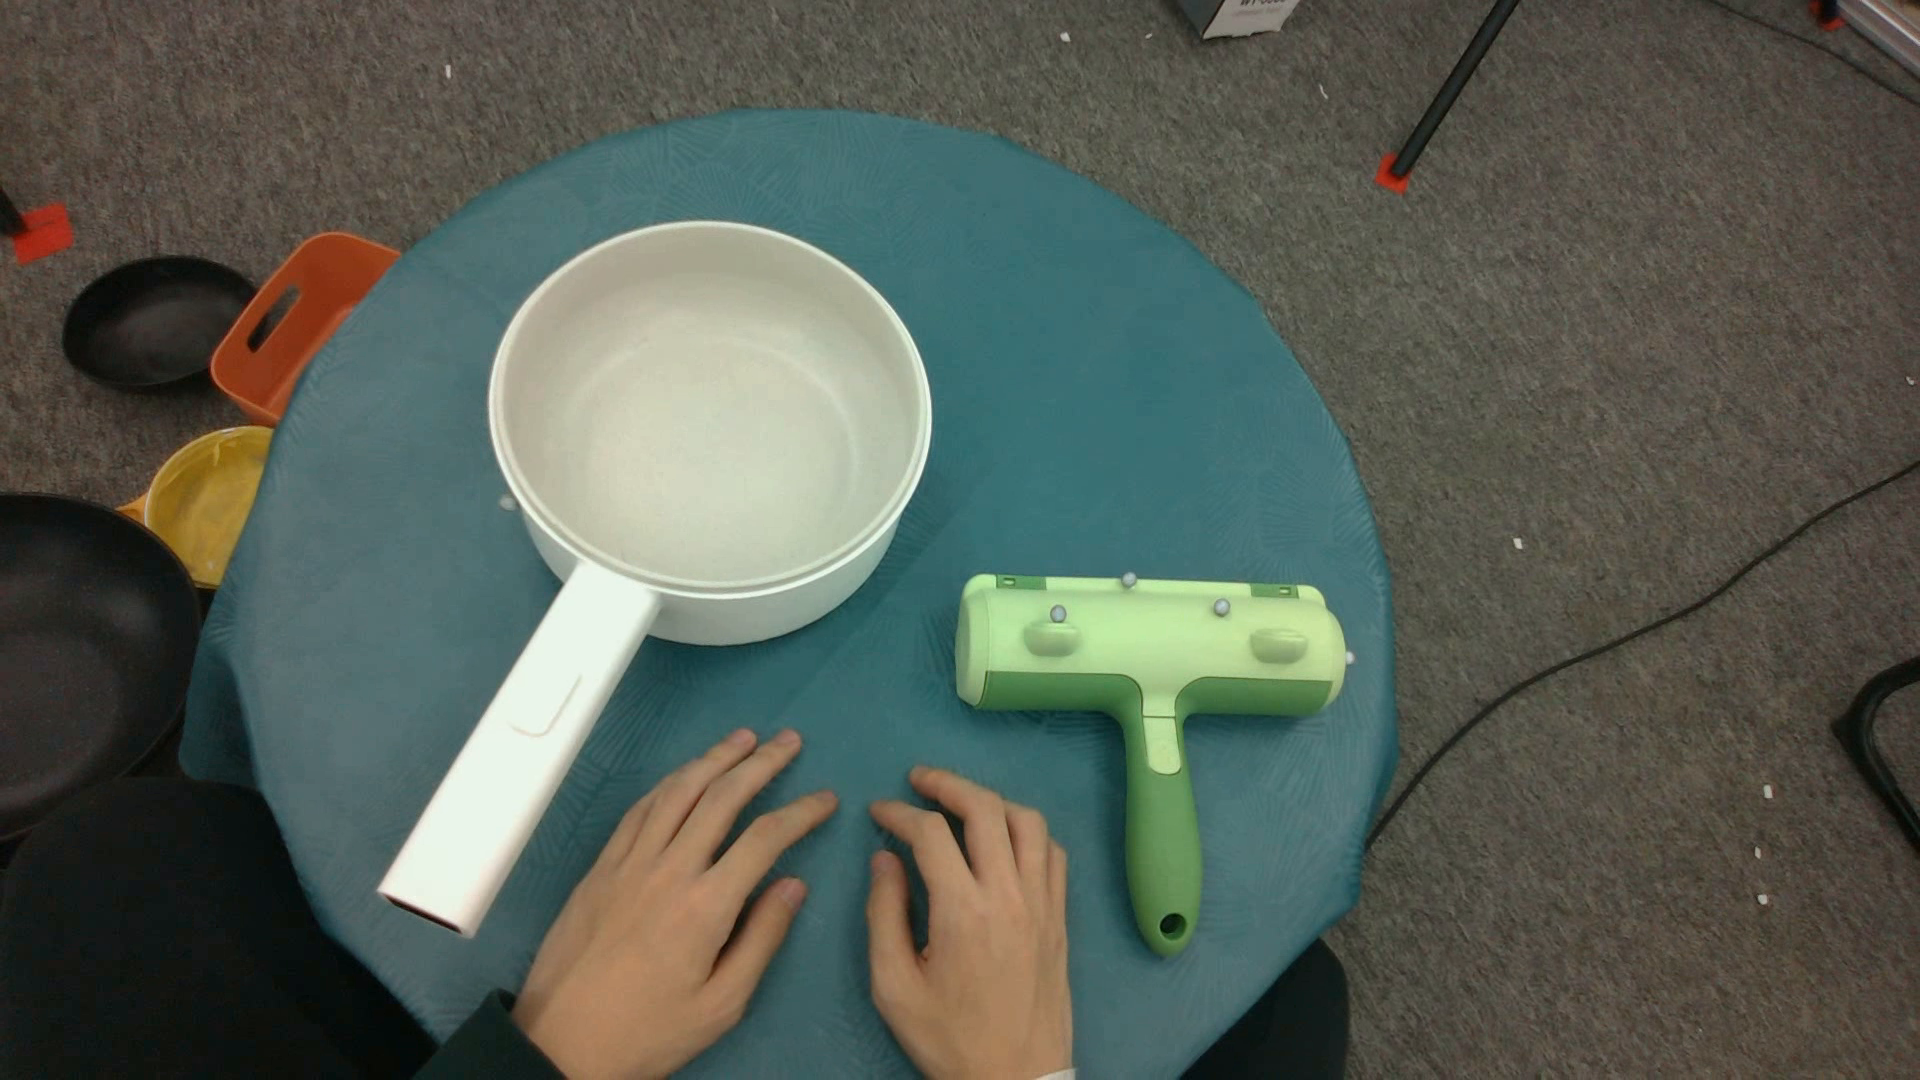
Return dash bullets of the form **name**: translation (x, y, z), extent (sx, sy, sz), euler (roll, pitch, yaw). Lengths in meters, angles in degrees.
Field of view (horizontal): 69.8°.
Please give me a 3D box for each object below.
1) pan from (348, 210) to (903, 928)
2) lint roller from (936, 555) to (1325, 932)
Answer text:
- **pan**: translation (-0.161, 0.011, 0.643), extent (0.201, 0.101, 0.356), euler (23, 64, 0)
- **lint roller**: translation (0.093, 0.090, 0.670), extent (0.199, 0.082, 0.184), euler (1, 60, -11)
